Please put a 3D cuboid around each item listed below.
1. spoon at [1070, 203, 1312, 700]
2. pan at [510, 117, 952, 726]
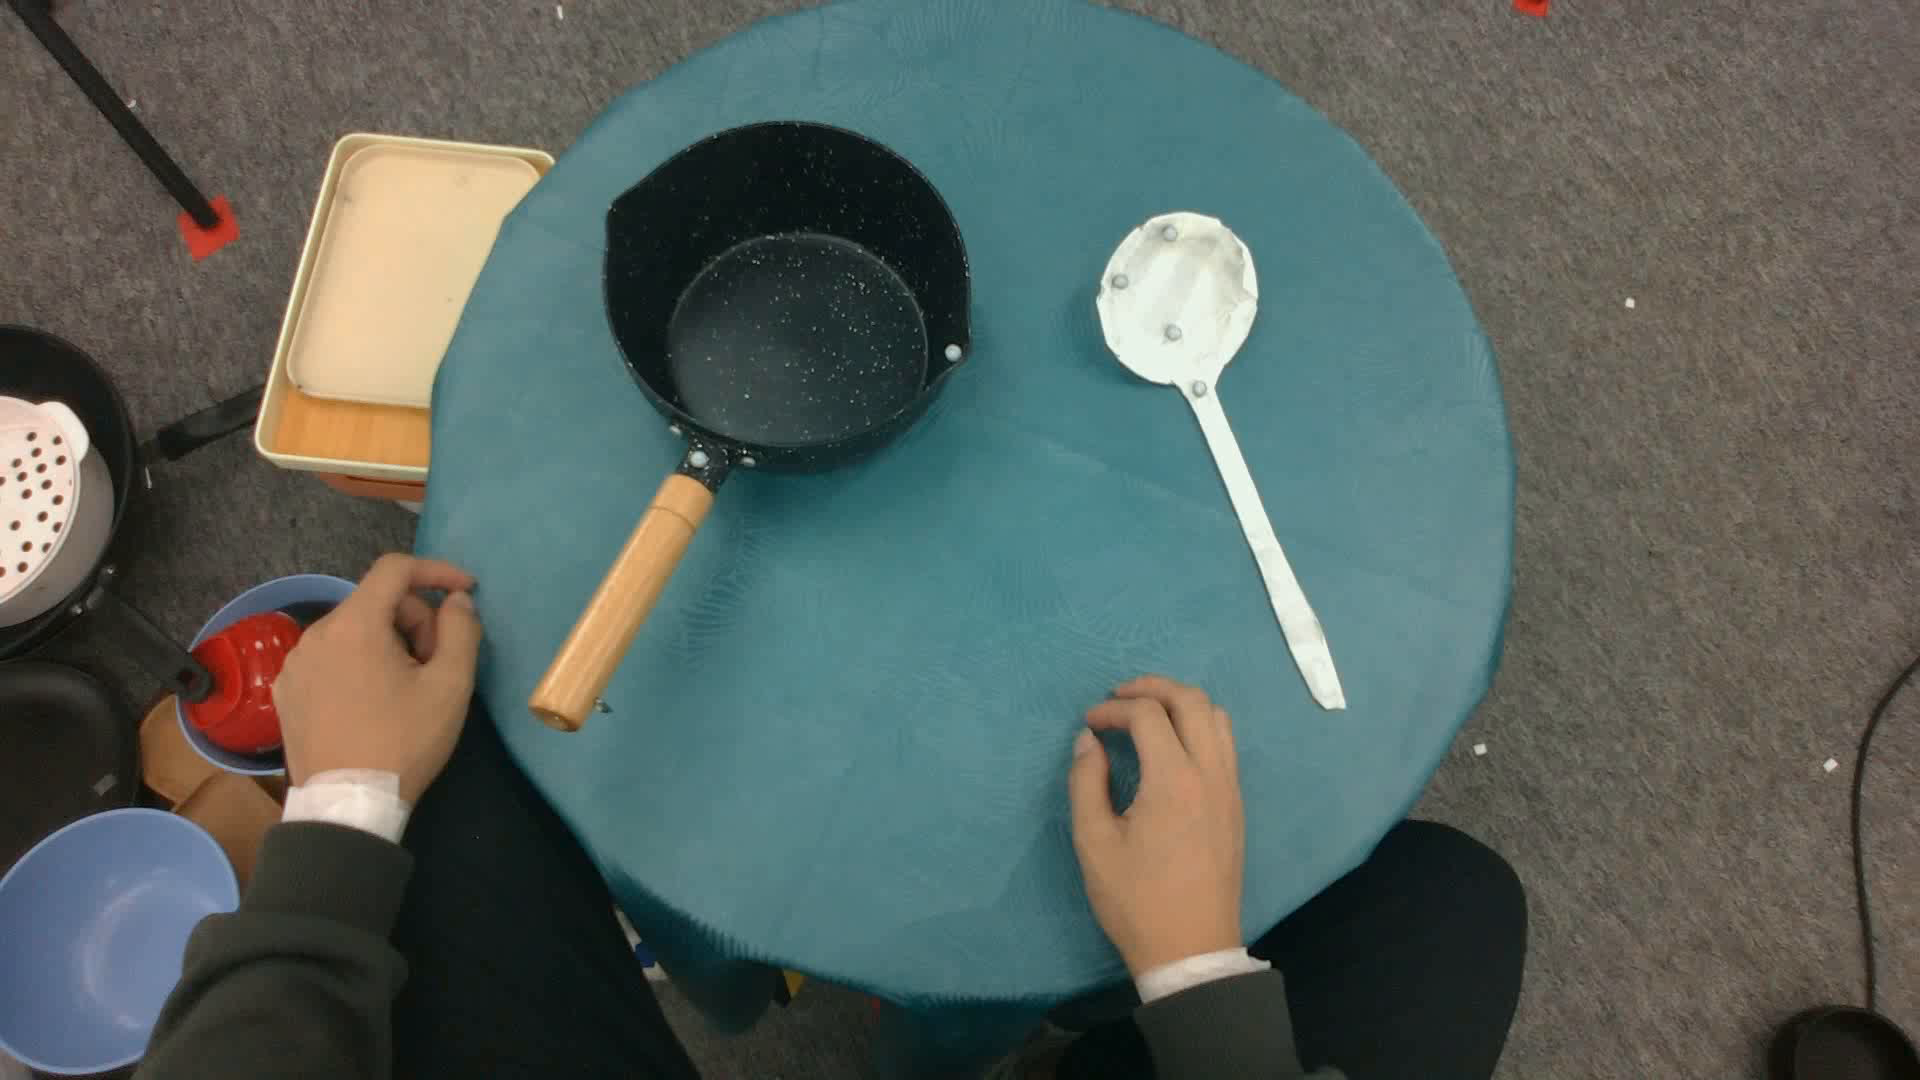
[{"bbox_3d":[0.135,-0.049,0.740,0.101,0.059,0.278,-16,73,-6],"label":"spoon"},{"bbox_3d":[-0.127,-0.055,0.699,0.207,0.108,0.344,20,70,2],"label":"pan"}]
